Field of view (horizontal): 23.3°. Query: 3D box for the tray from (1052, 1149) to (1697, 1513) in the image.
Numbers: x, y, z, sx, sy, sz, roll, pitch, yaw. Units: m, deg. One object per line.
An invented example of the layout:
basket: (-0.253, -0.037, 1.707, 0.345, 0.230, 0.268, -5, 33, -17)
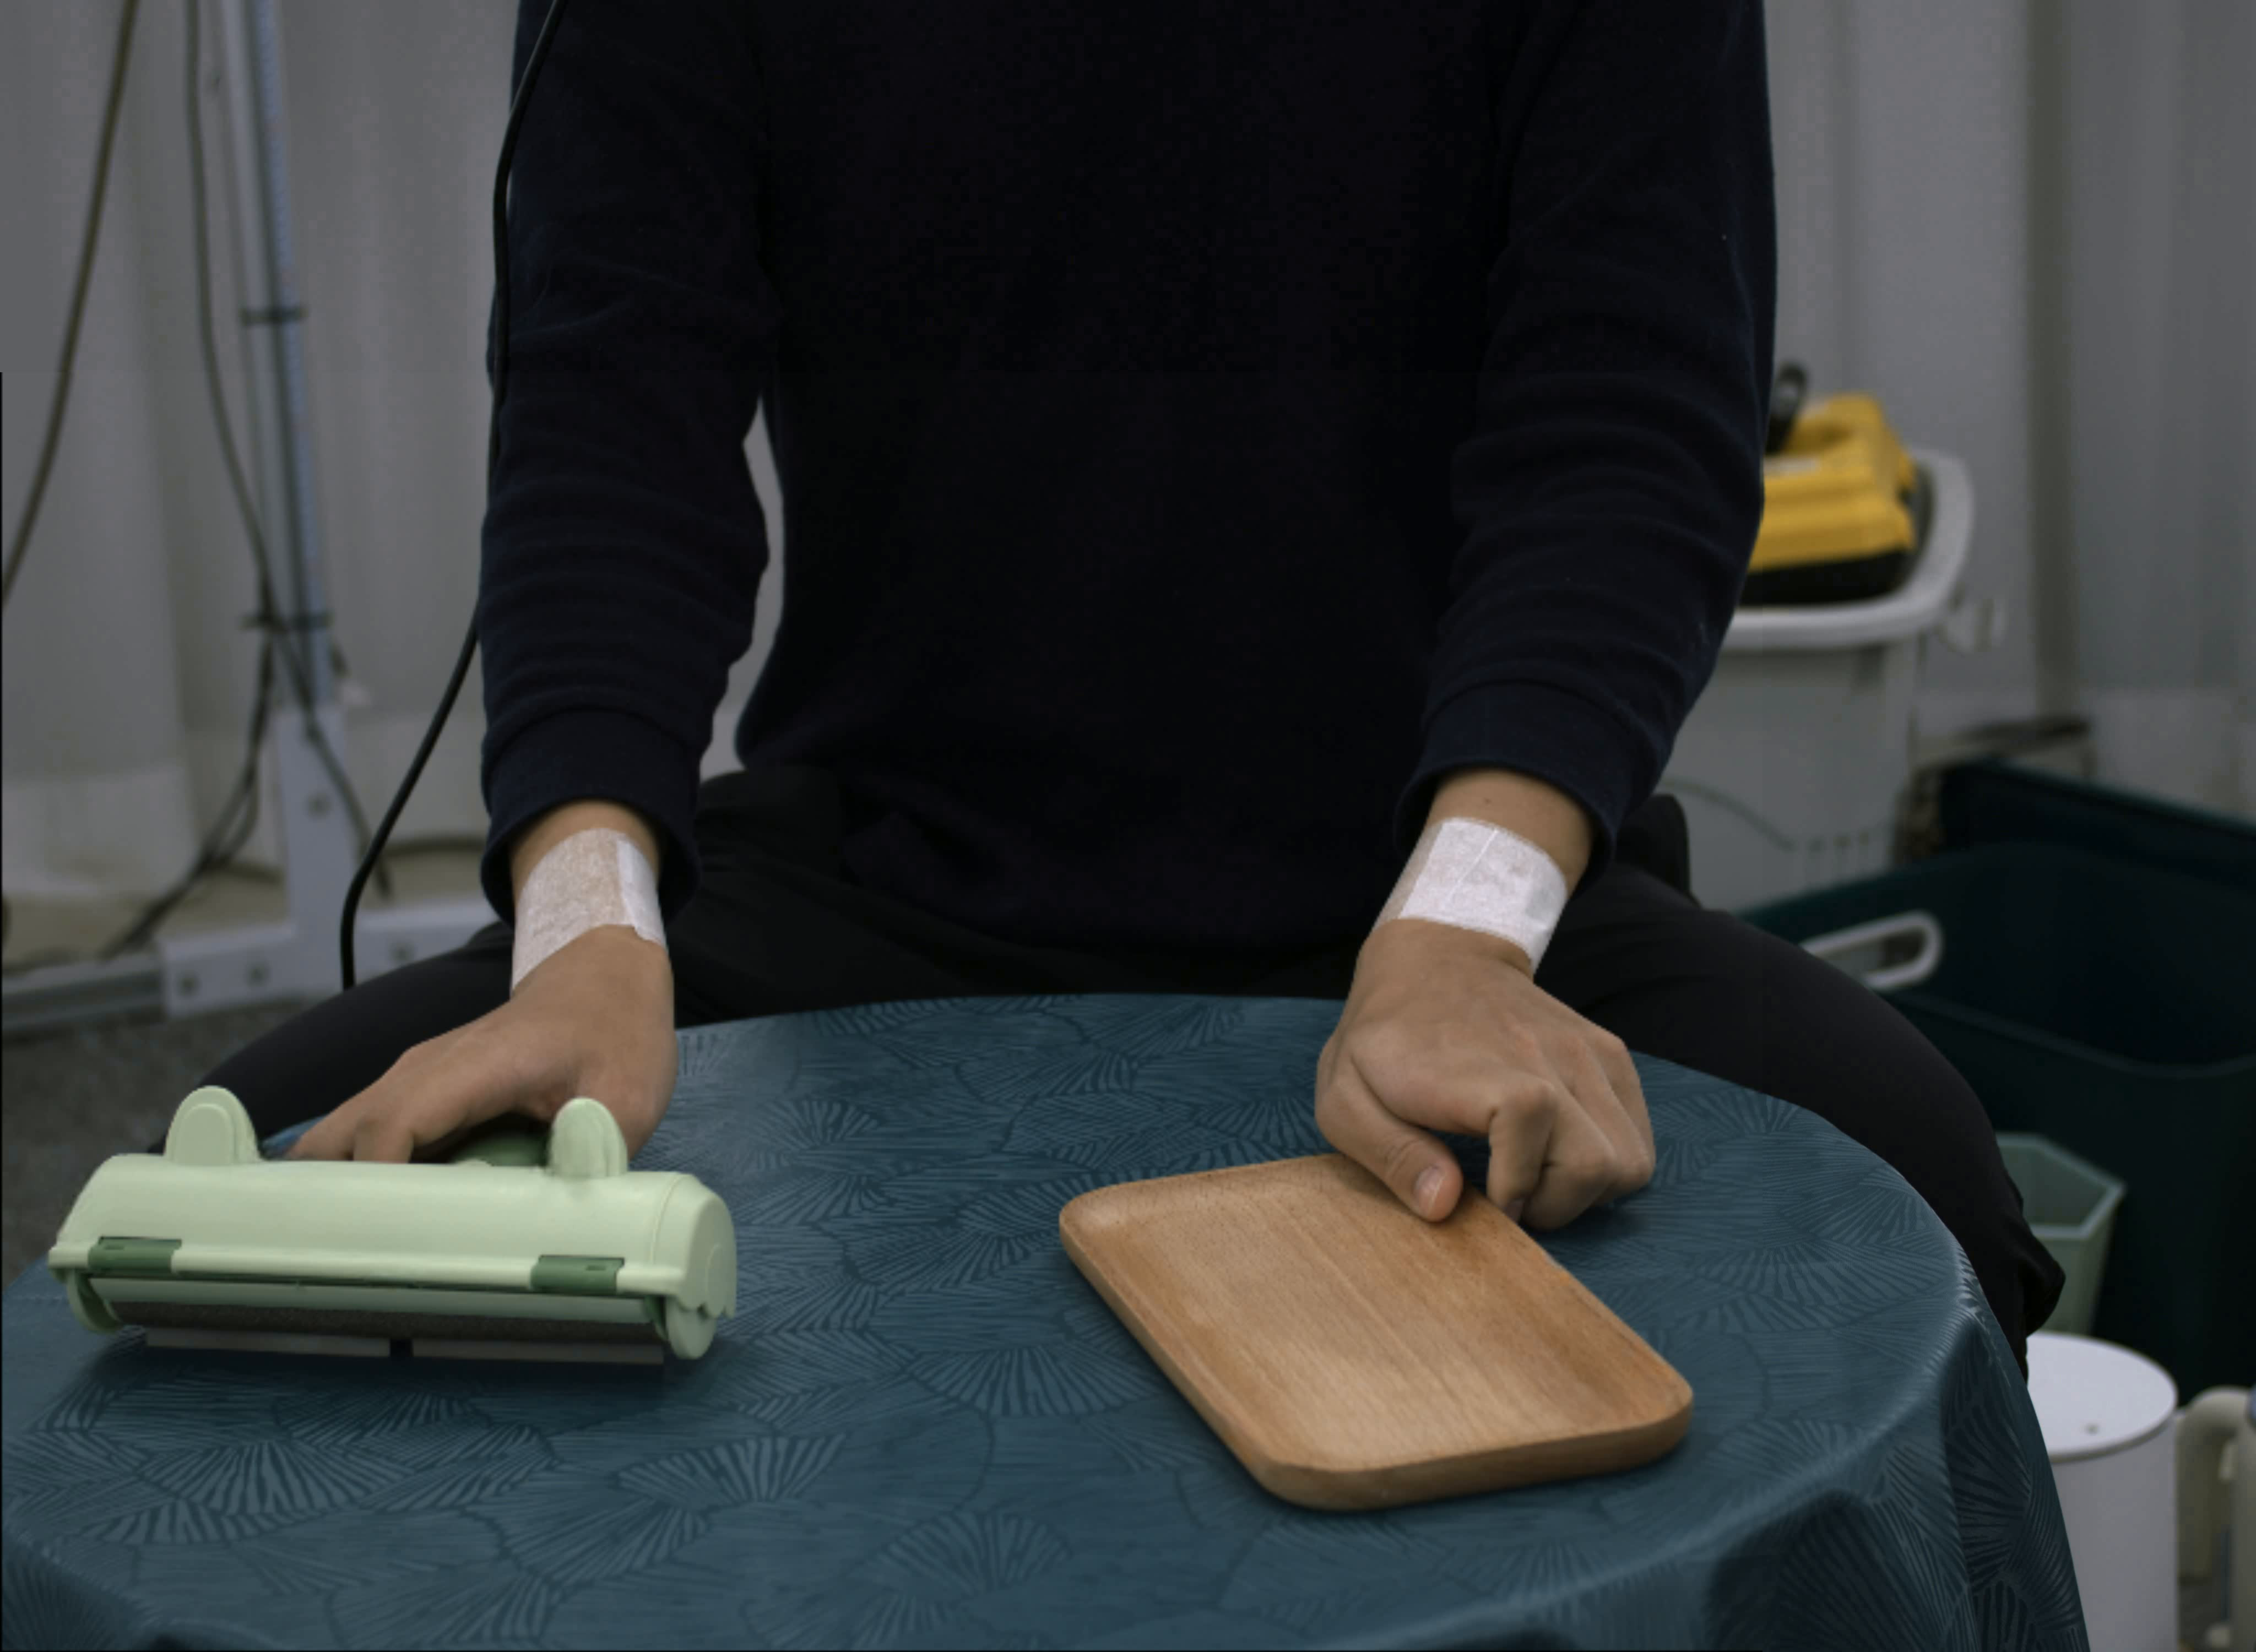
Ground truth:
tray: (0.066, 0.142, 1.570, 0.130, 0.023, 0.252, -5, 14, -14)

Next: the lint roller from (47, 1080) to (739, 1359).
lint roller: (-0.202, 0.098, 1.649, 0.198, 0.081, 0.184, 1, 21, 13)
